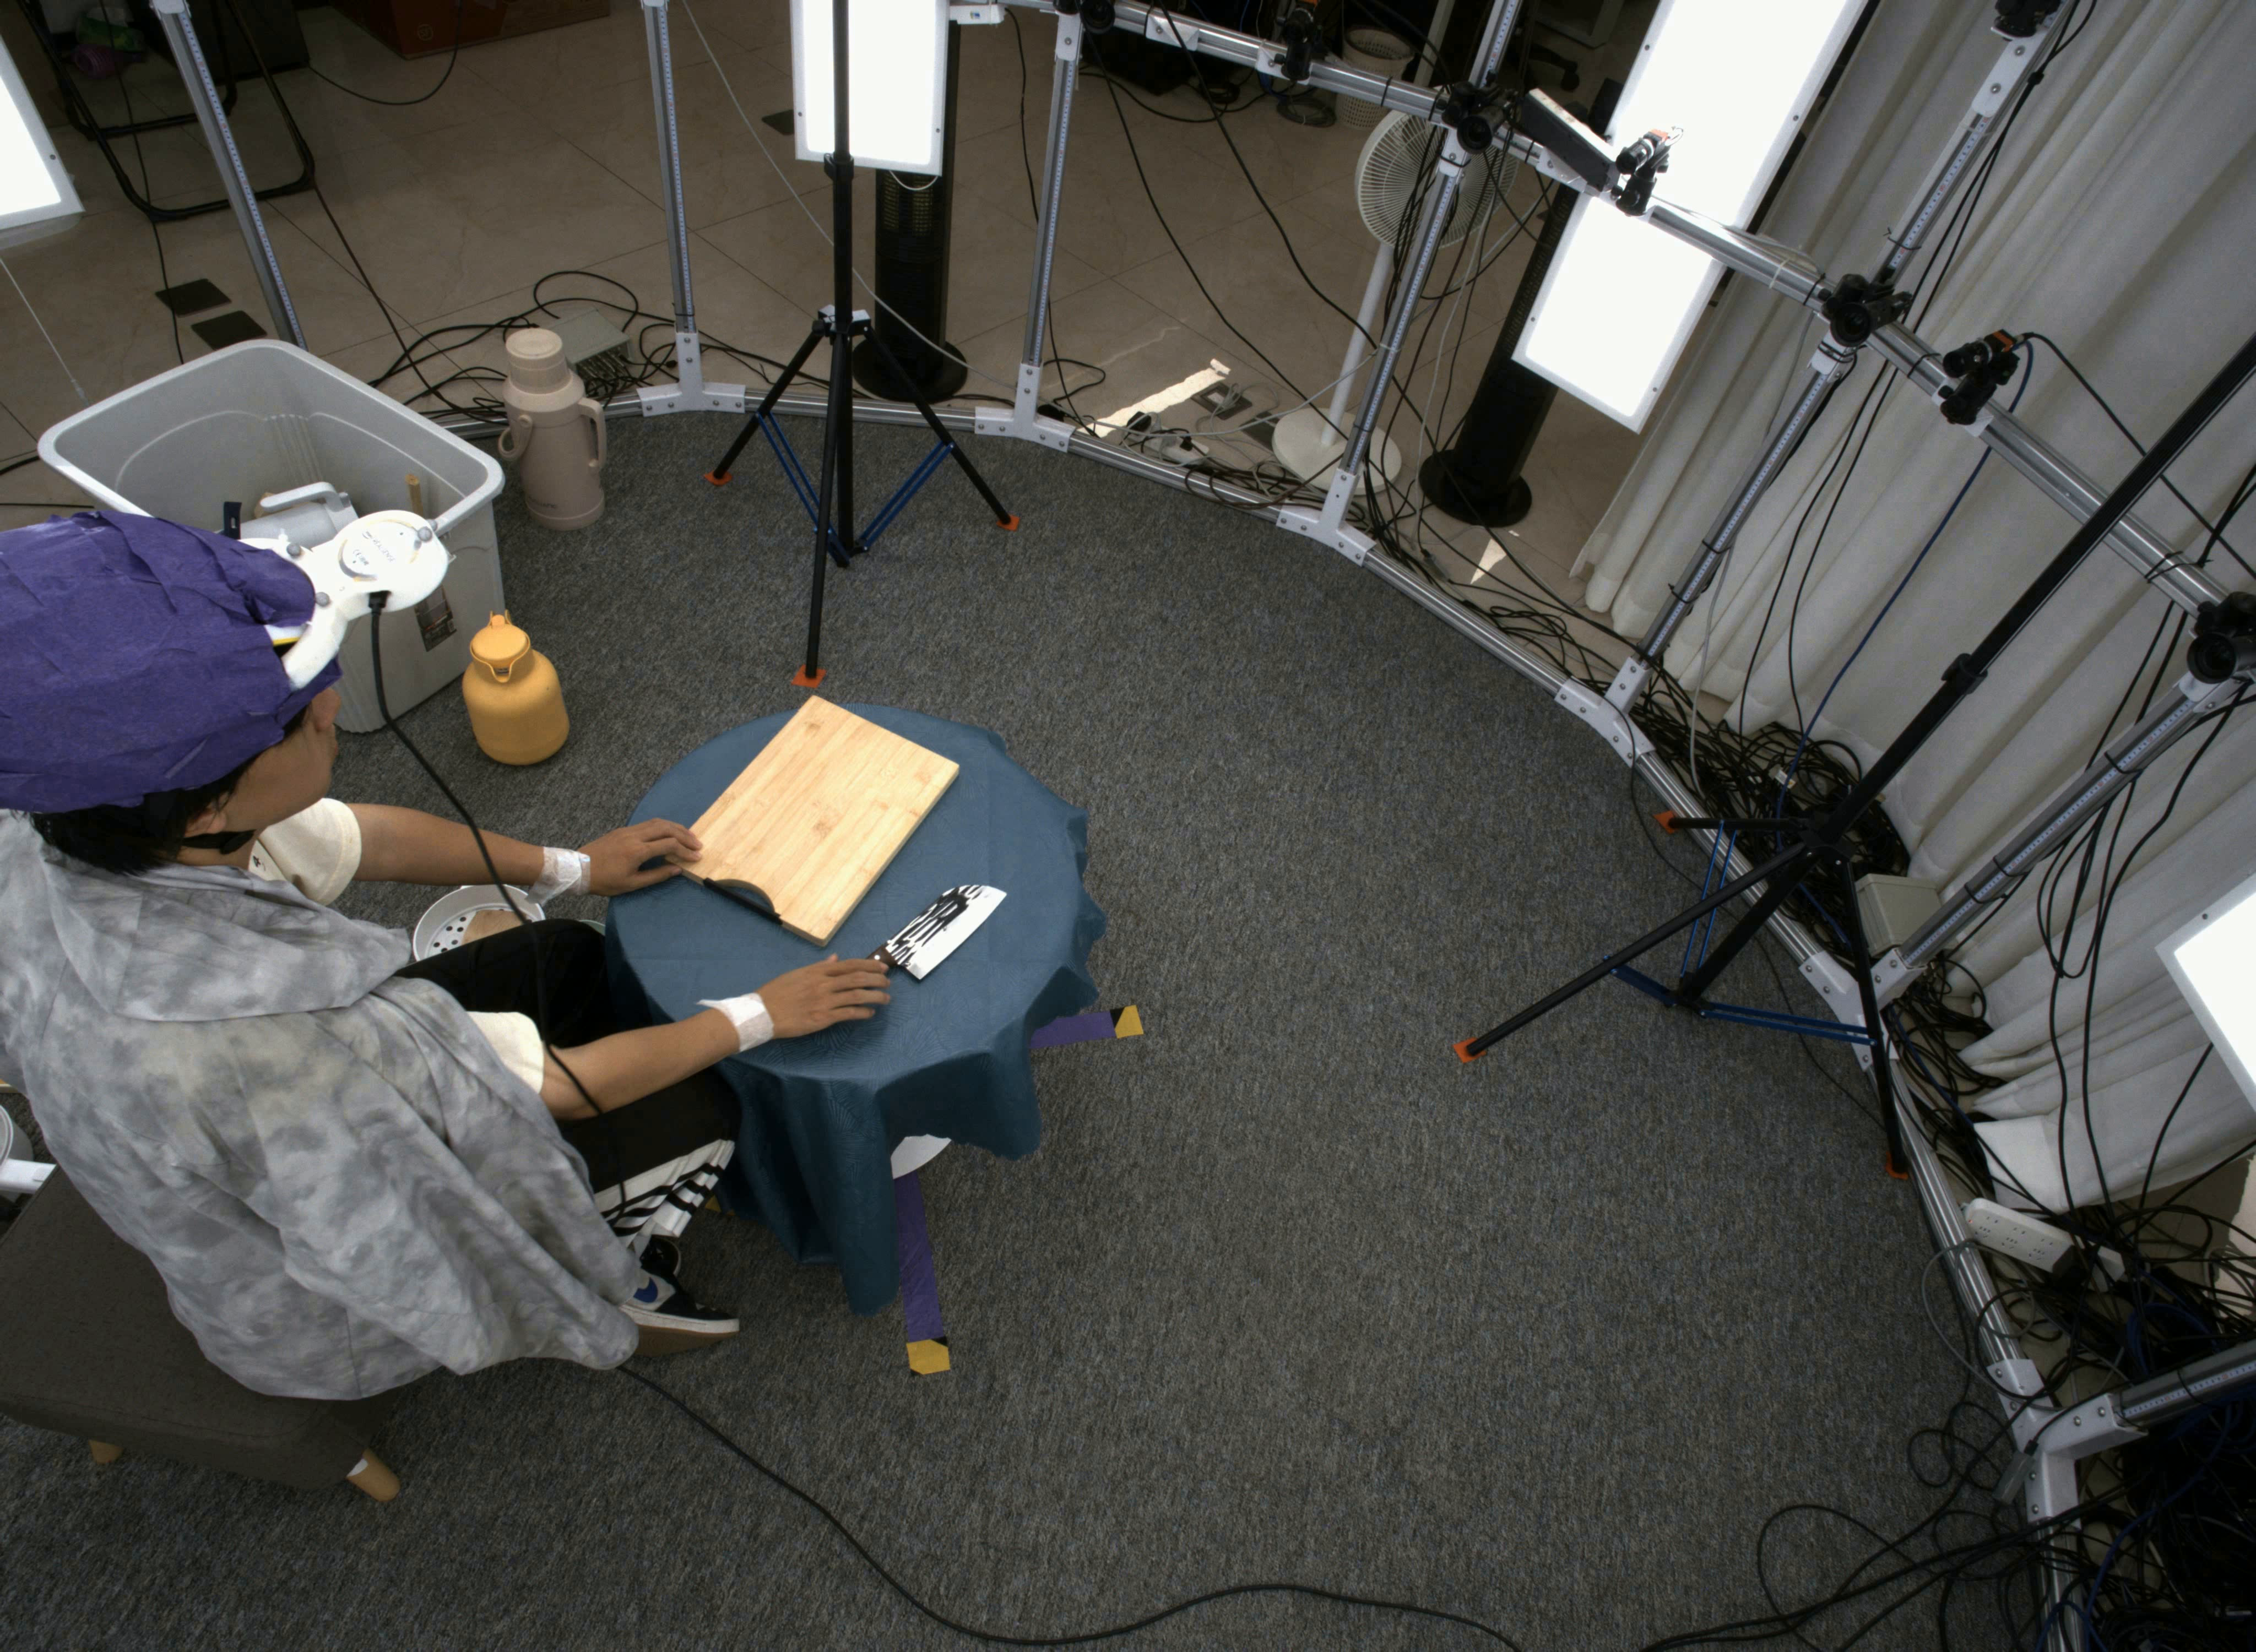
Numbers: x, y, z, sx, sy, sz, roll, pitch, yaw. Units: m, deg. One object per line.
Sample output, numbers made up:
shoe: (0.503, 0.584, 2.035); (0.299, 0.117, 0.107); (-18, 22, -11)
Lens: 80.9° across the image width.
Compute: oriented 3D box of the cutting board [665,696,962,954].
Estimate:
cutting board: (-0.409, -0.012, 1.729); (0.247, 0.024, 0.346); (26, 52, 6)

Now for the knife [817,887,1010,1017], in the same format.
knife: (-0.263, 0.155, 1.638); (0.067, 0.024, 0.300); (40, 52, 13)
